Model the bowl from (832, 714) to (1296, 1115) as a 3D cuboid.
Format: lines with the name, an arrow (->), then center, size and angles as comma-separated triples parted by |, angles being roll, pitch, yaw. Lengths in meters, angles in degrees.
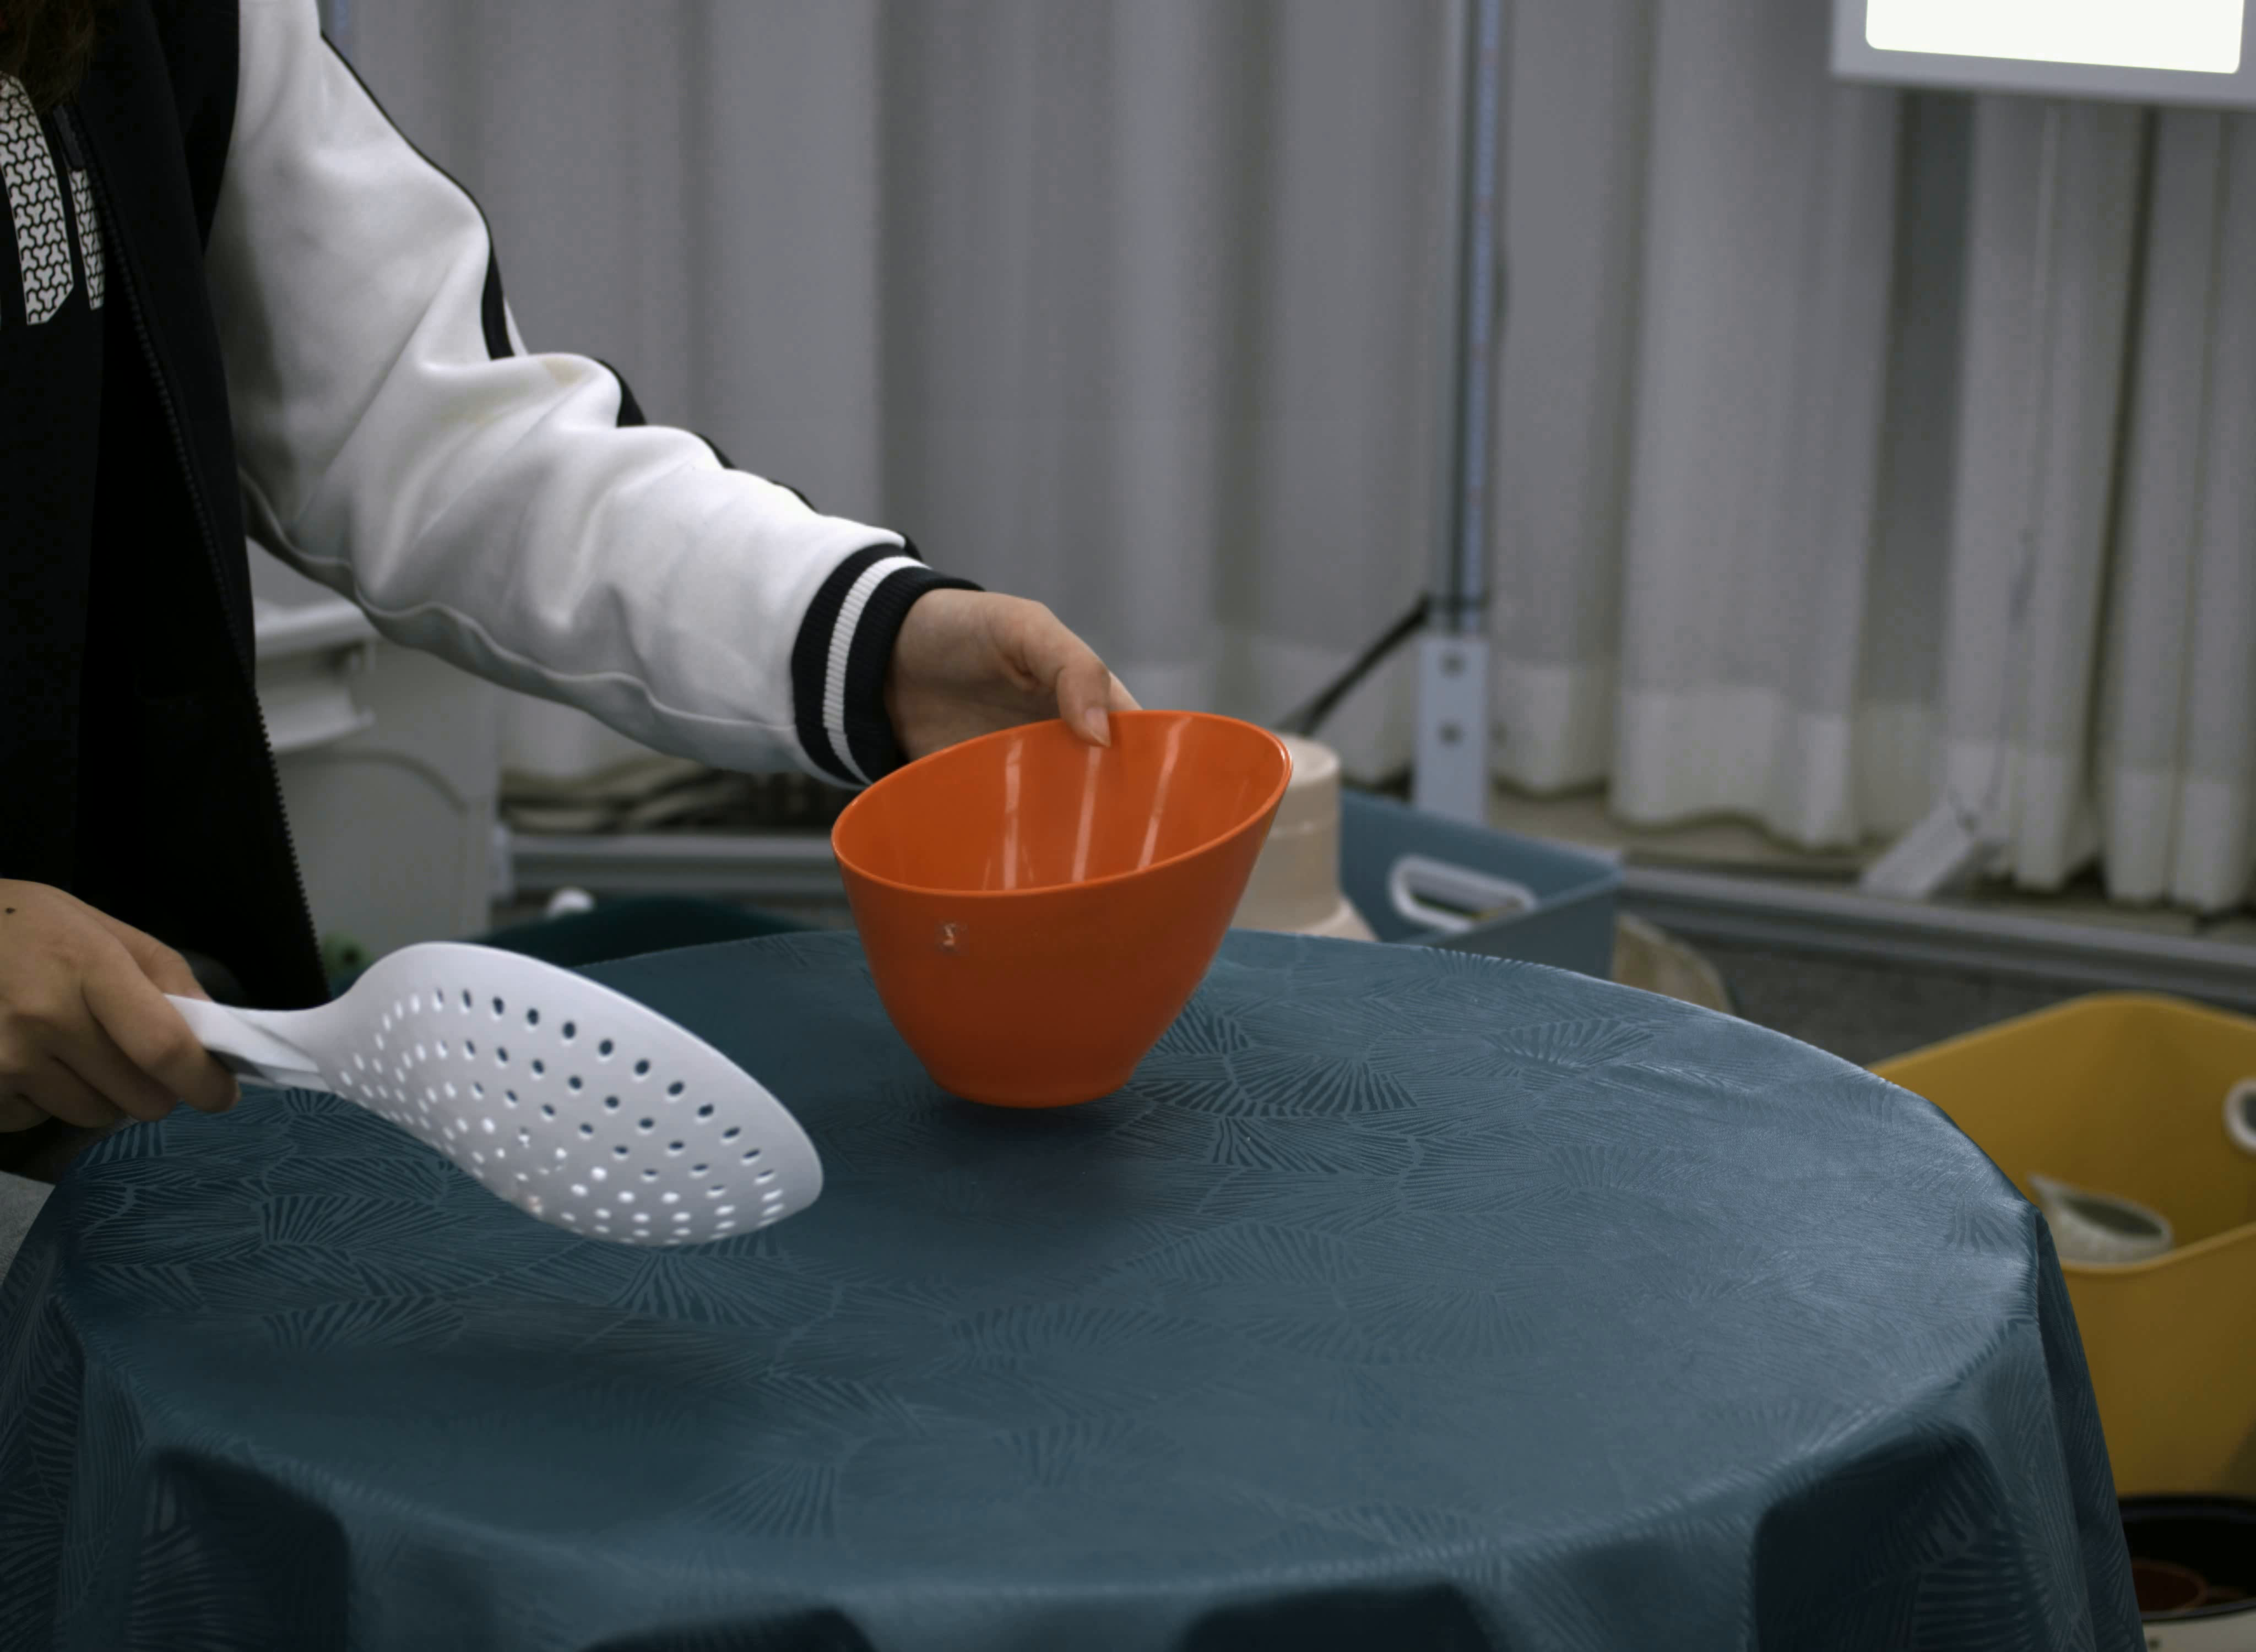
bowl -> -0.020, 0.031, 1.682 | 0.147, 0.105, 0.147 | 0, 21, 1

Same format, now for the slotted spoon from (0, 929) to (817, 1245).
slotted spoon -> -0.235, 0.065, 1.506 | 0.345, 0.138, 0.045 | 11, 61, 39
